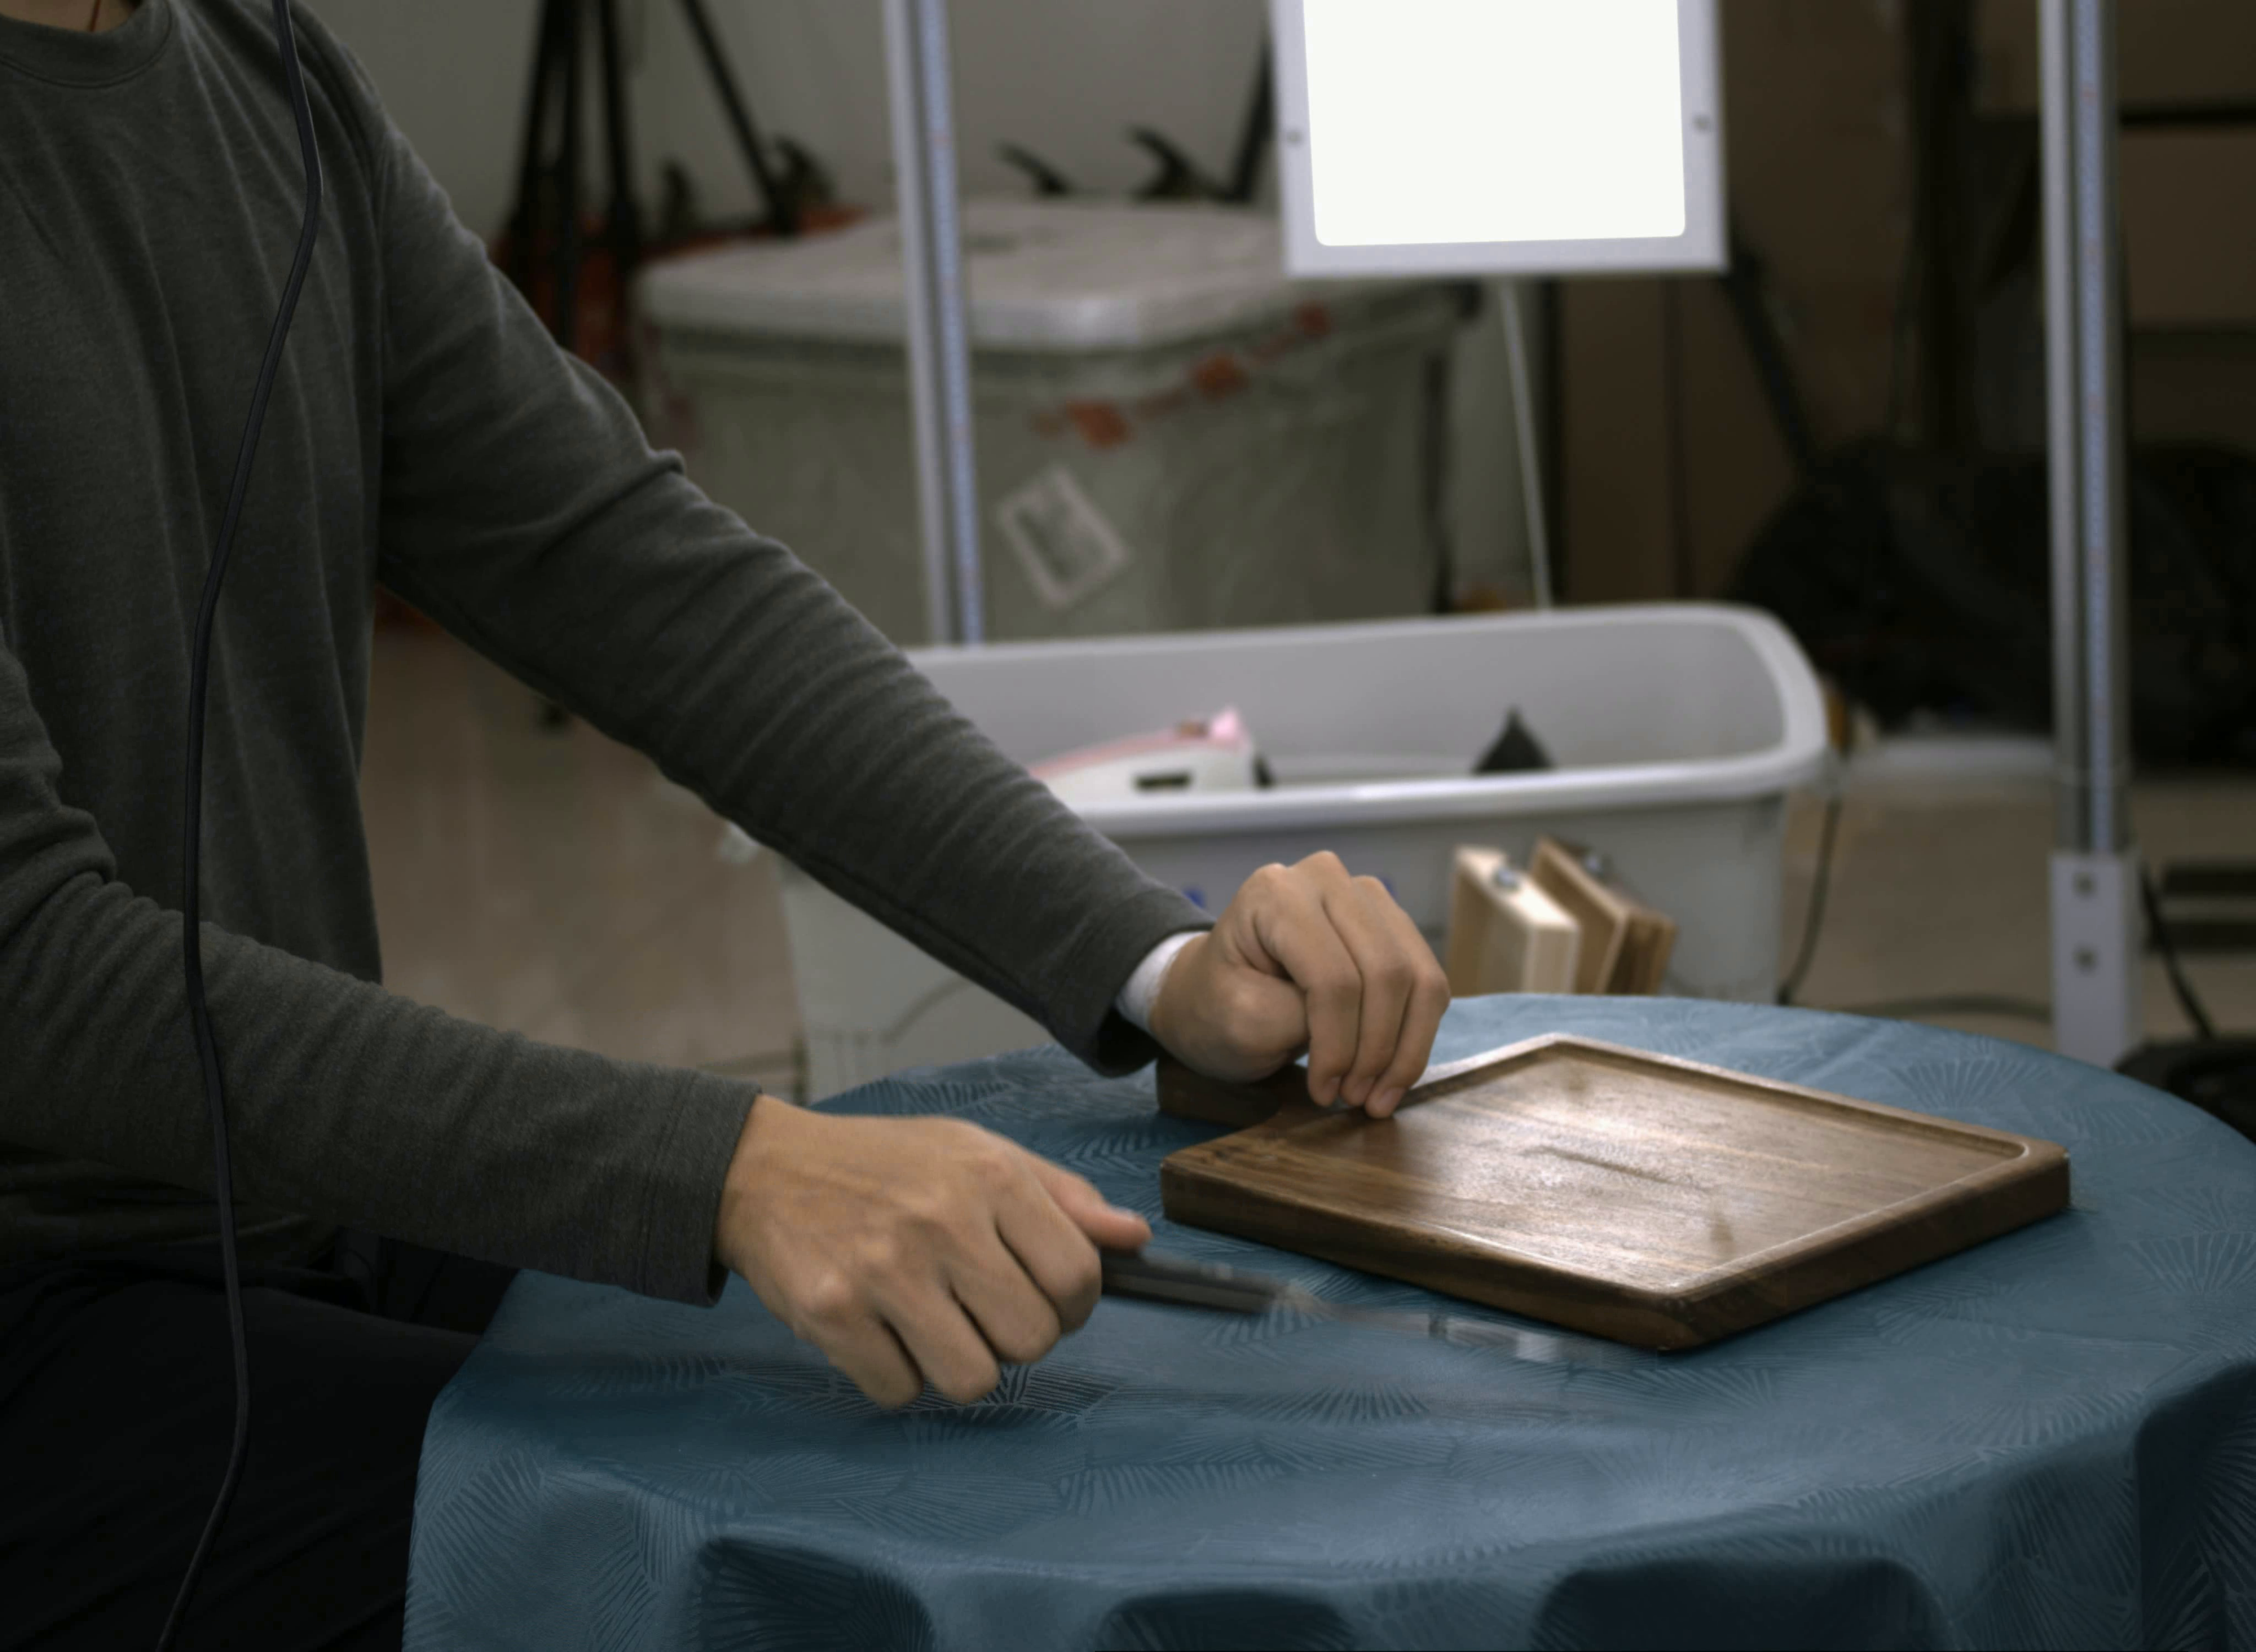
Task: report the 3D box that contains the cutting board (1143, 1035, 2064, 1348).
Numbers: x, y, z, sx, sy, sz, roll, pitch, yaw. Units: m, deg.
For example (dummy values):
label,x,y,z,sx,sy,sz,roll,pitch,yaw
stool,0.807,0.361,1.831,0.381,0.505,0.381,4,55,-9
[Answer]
label,x,y,z,sx,sy,sz,roll,pitch,yaw
cutting board,0.129,0.112,1.873,0.196,0.023,0.359,-15,16,-37

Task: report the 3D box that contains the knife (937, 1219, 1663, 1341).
label,x,y,z,sx,sy,sz,roll,pitch,yaw
knife,0.049,0.142,1.686,0.241,0.016,0.024,6,6,23
